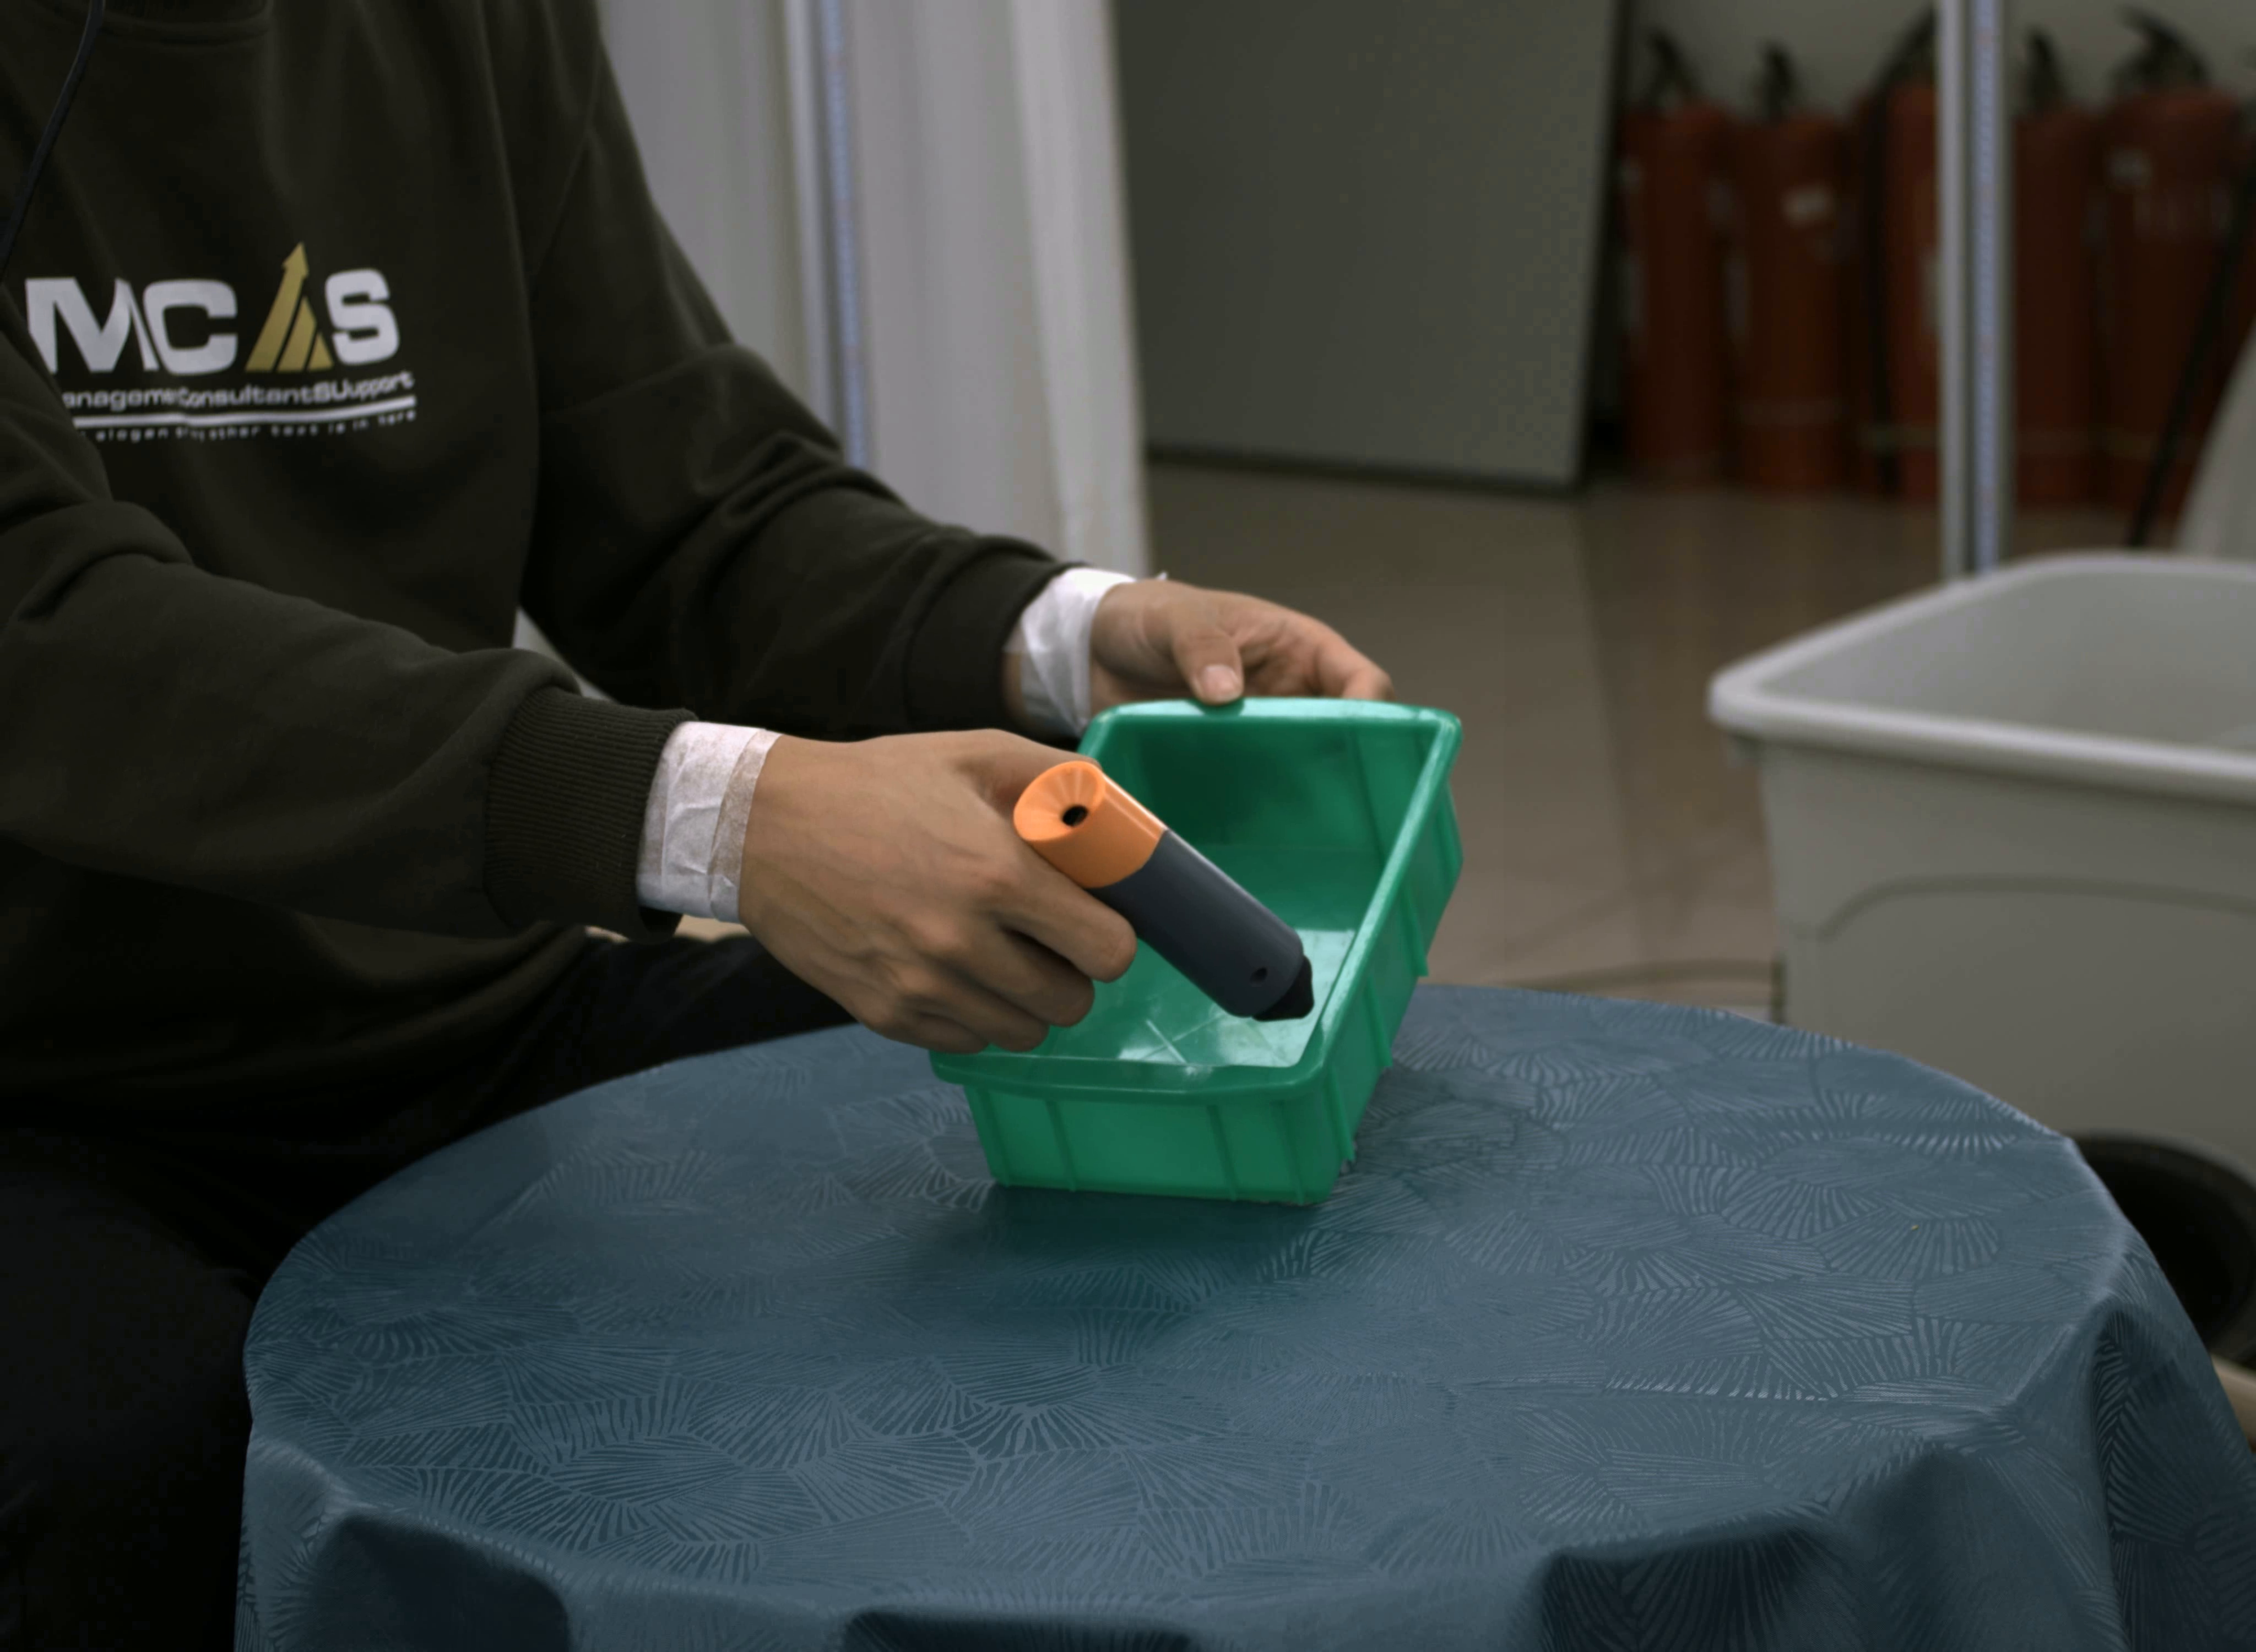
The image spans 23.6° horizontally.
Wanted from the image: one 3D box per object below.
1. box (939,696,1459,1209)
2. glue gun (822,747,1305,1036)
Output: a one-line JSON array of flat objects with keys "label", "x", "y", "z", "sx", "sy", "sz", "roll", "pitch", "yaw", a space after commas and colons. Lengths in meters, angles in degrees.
[{"label": "box", "x": 0.031, "y": 0.045, "z": 1.817, "sx": 0.138, "sy": 0.065, "sz": 0.210, "roll": -1, "pitch": 39, "yaw": 21}, {"label": "glue gun", "x": -0.020, "y": 0.029, "z": 1.735, "sx": 0.140, "sy": 0.117, "sz": 0.041, "roll": -5, "pitch": 43, "yaw": 32}]
